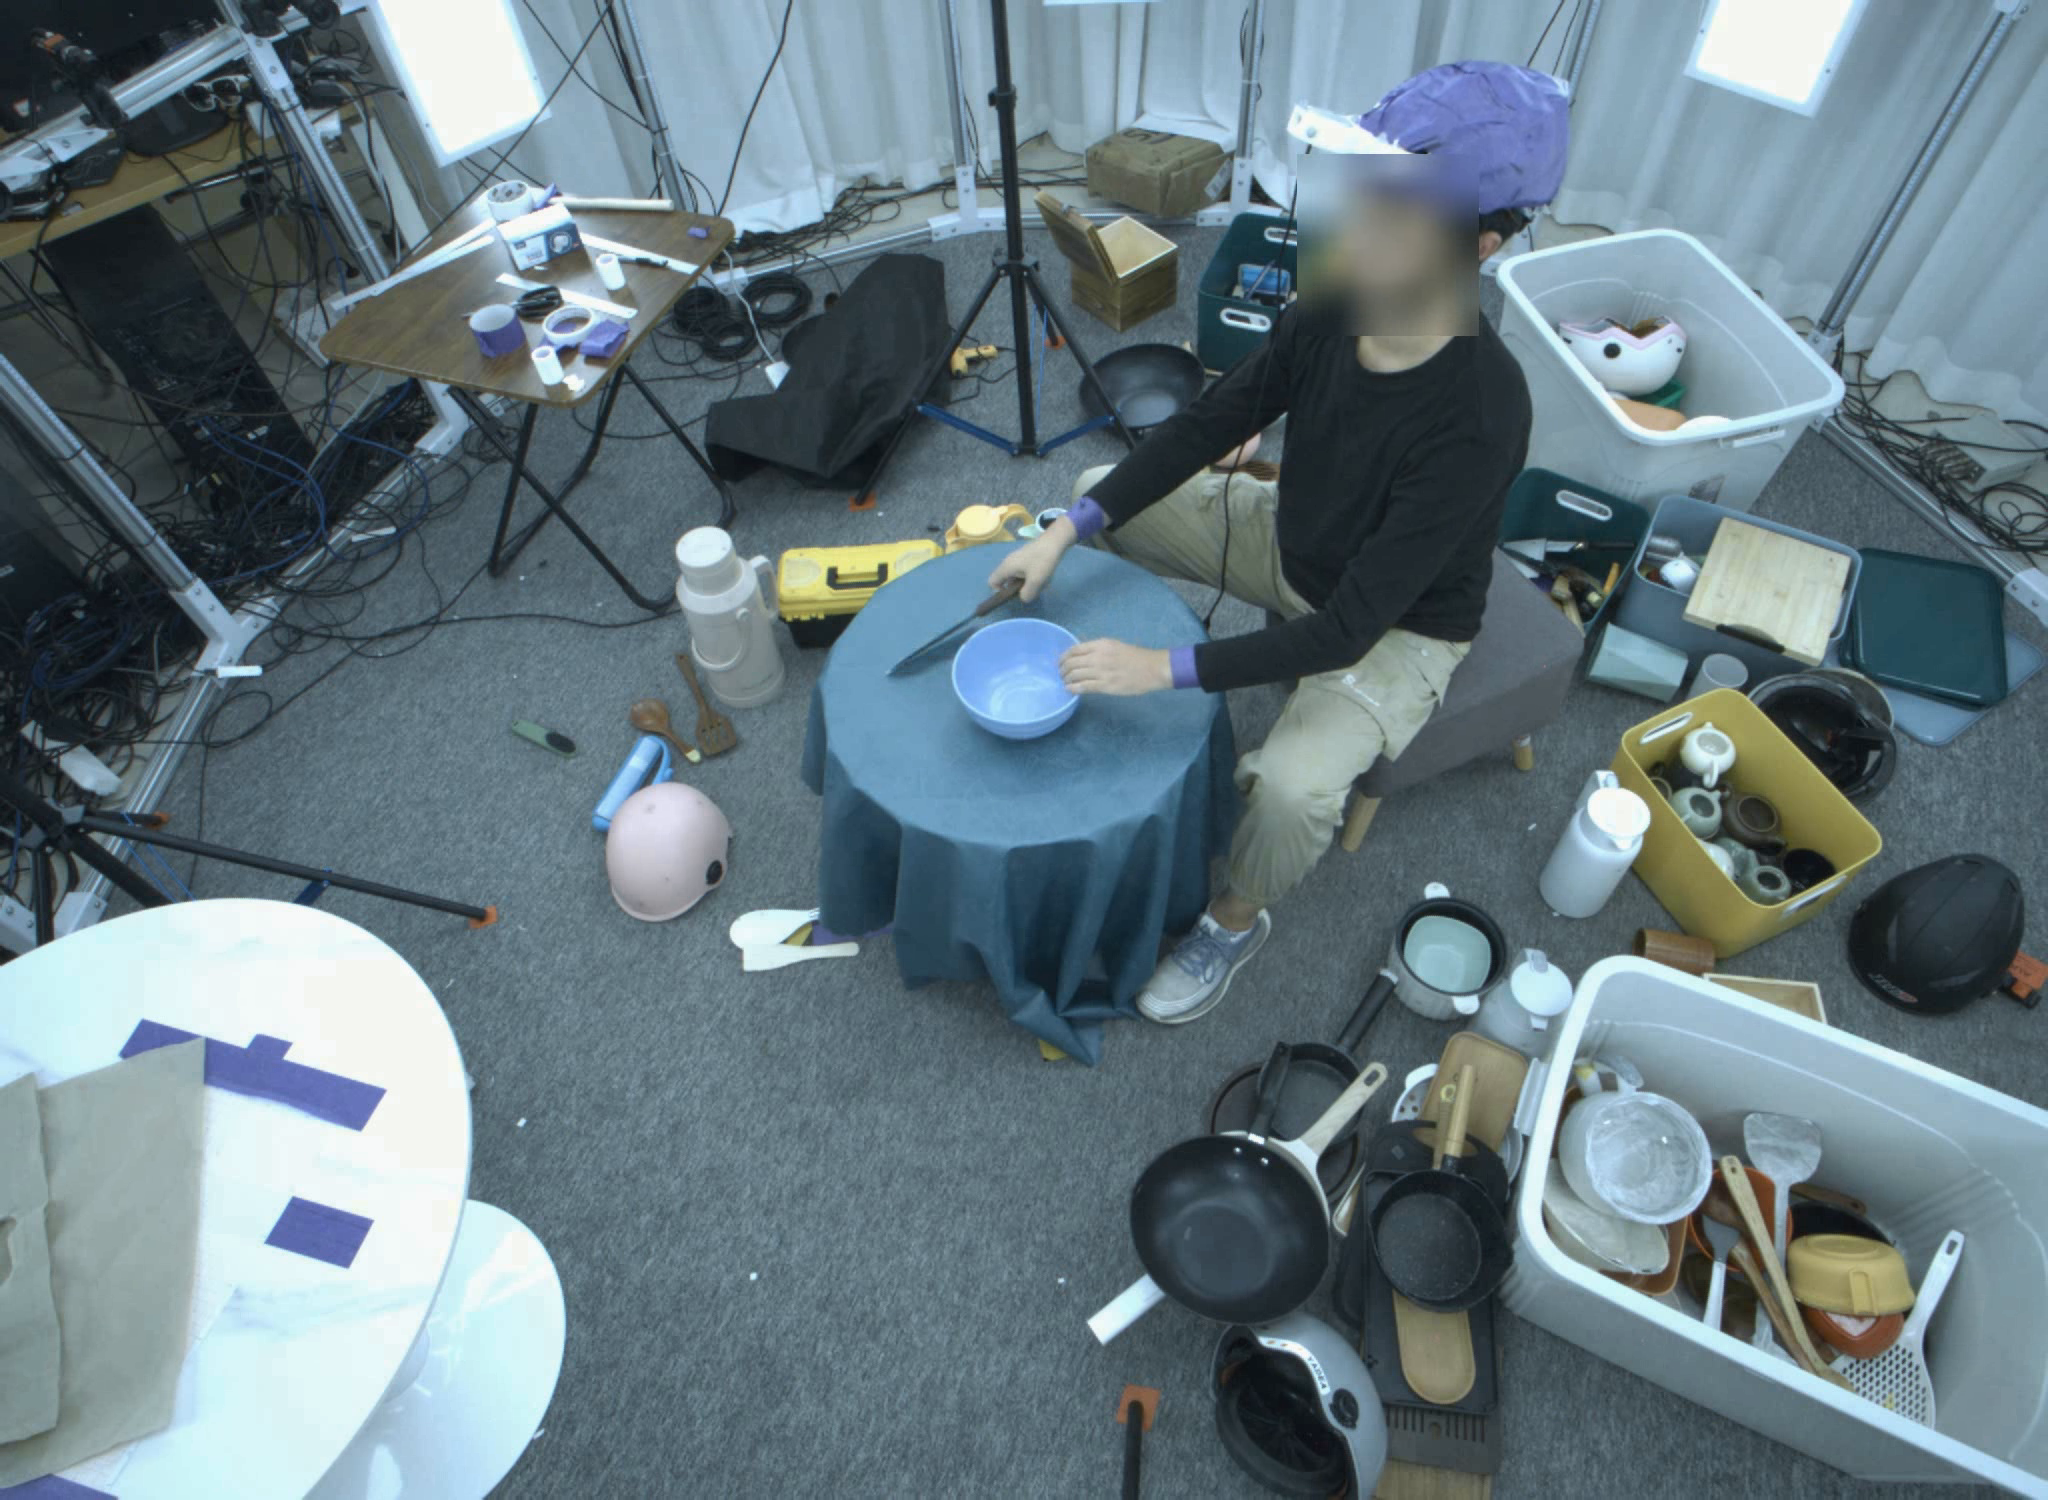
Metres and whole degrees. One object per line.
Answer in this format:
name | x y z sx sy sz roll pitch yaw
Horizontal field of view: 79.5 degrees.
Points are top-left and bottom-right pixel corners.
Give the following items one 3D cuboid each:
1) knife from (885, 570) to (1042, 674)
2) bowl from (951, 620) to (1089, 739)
knife | -0.093 -0.196 1.891 0.290 0.050 0.020 -34 90 -11
bowl | -0.004 -0.088 1.790 0.196 0.096 0.194 0 53 1
